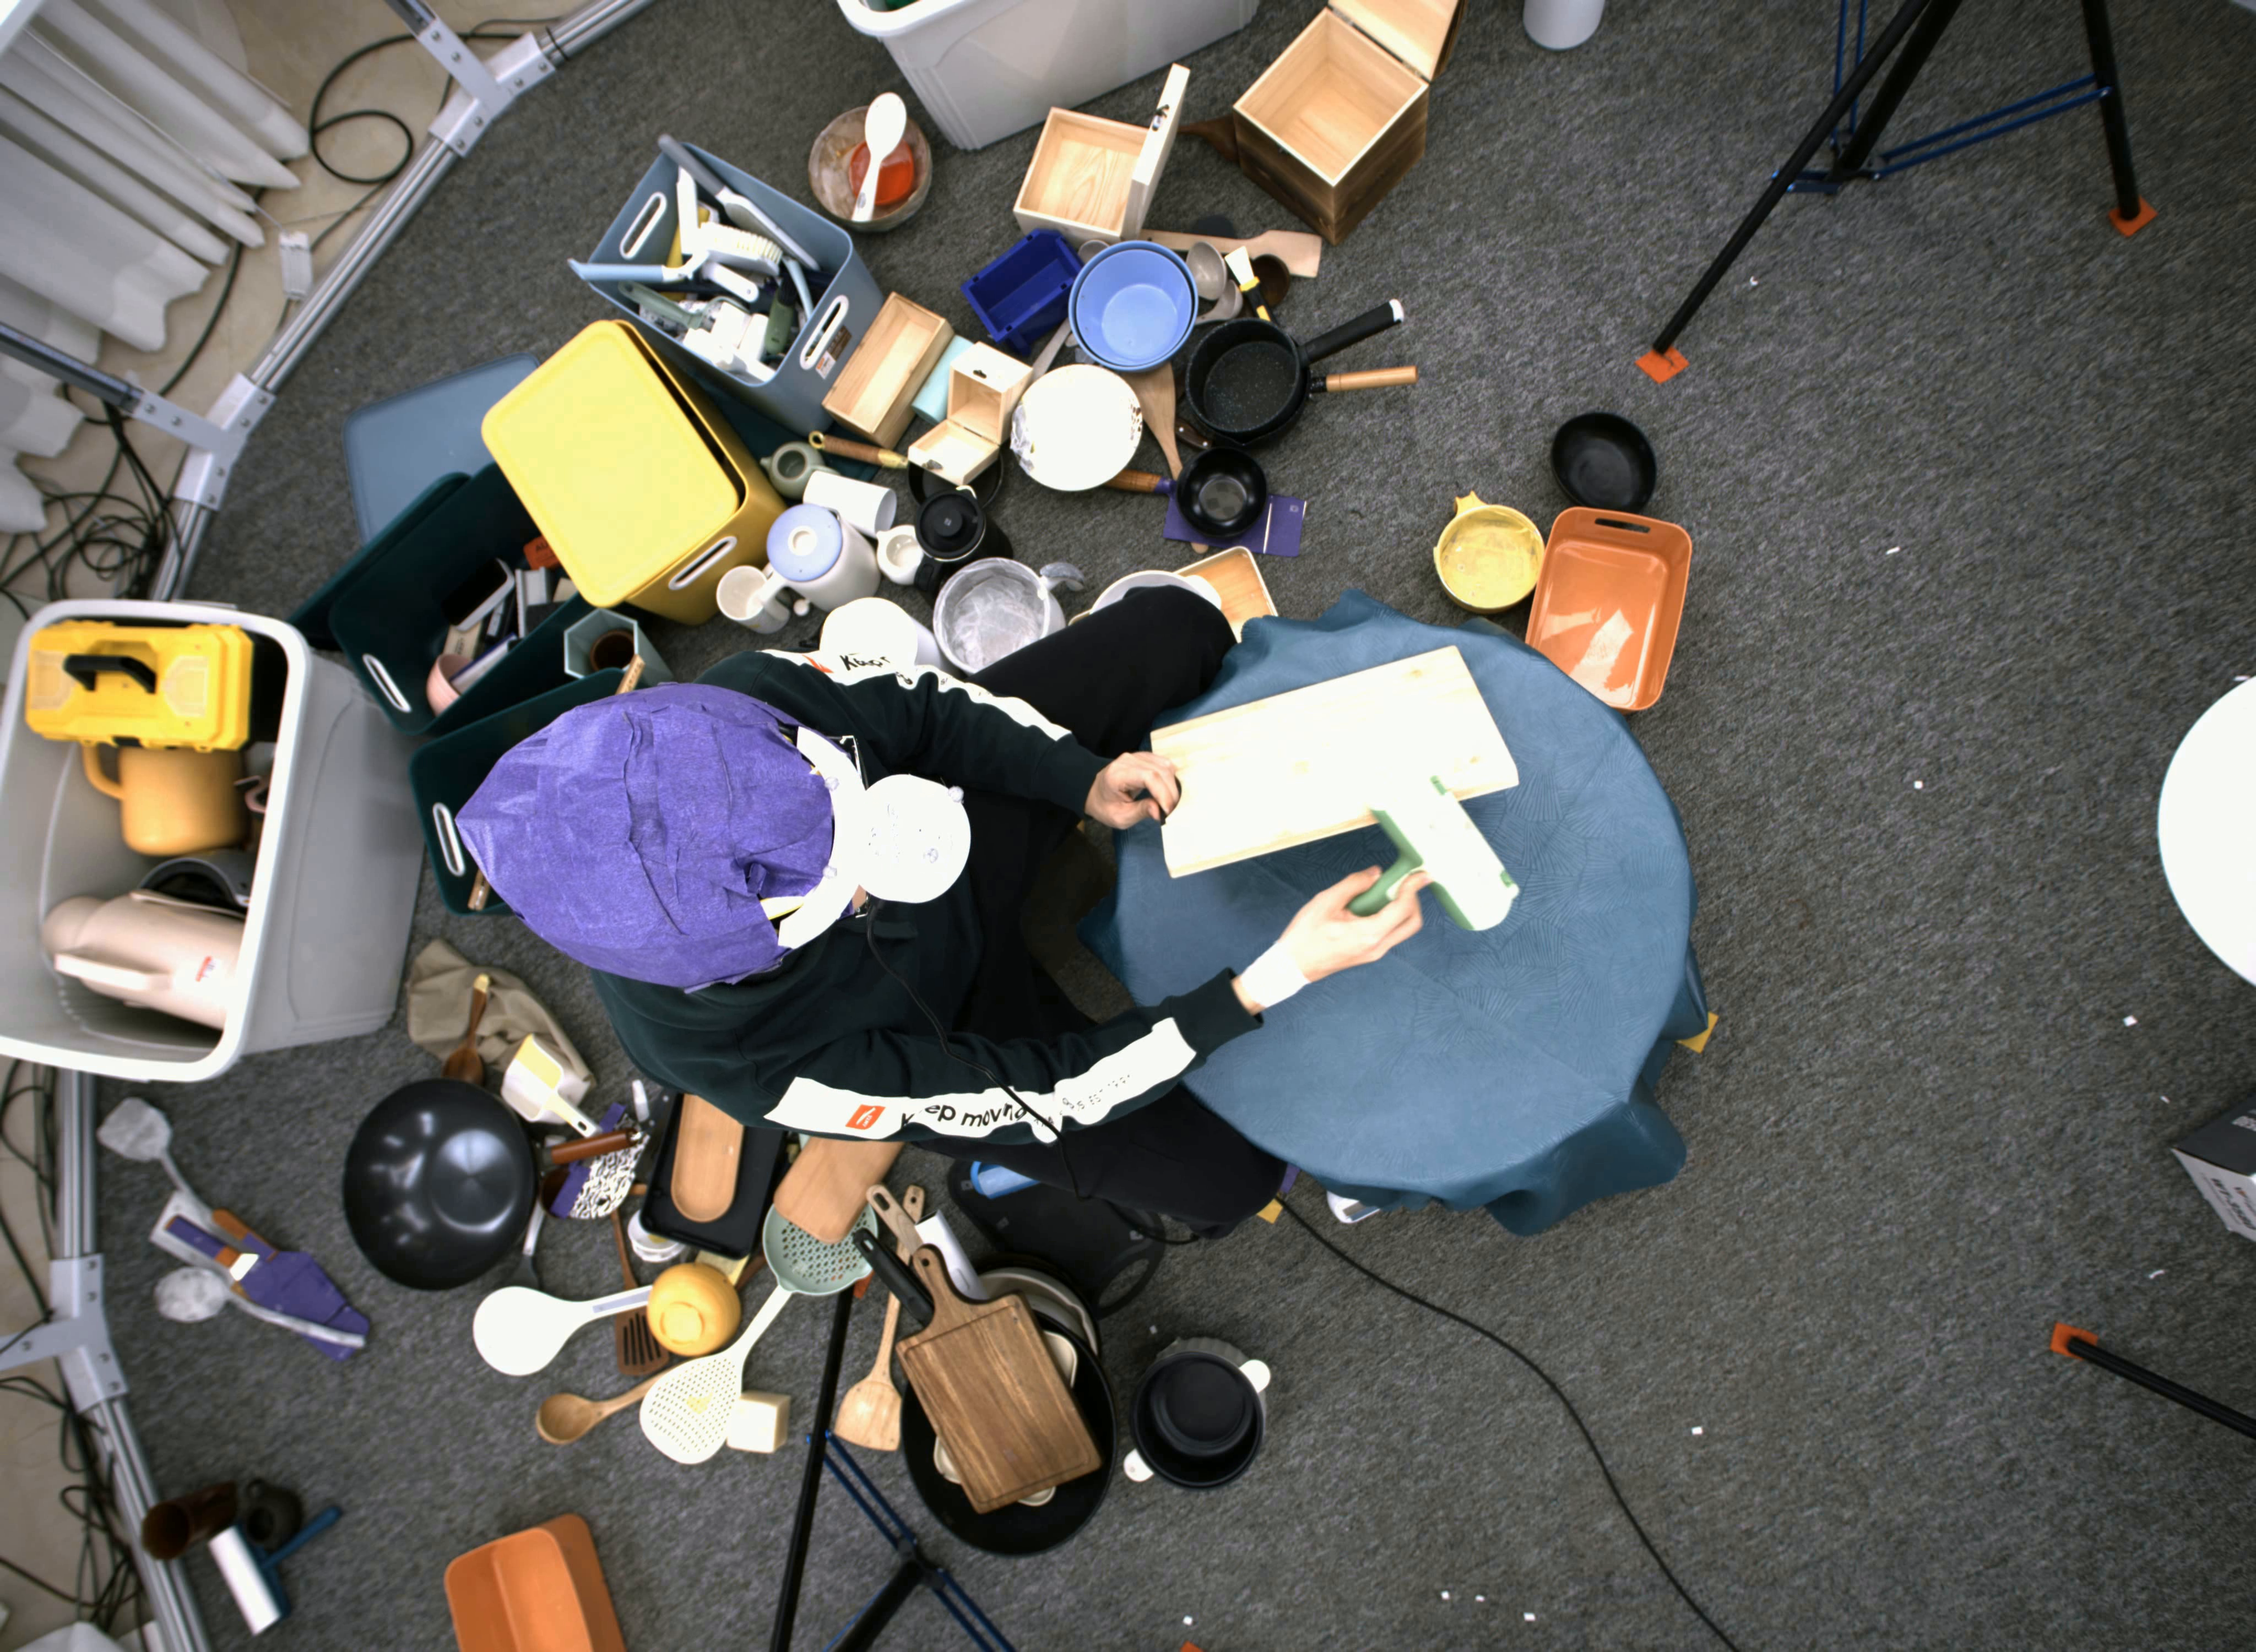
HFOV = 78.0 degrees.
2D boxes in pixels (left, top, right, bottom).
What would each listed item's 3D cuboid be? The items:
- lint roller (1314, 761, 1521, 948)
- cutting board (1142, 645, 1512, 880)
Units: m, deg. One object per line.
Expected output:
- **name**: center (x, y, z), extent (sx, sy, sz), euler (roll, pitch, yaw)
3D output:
- **lint roller**: center (0.256, 0.060, 1.276), extent (0.183, 0.081, 0.201), euler (-41, 121, 2)
- **cutting board**: center (0.188, -0.070, 1.386), extent (0.350, 0.244, 0.024), euler (-16, 126, 8)
